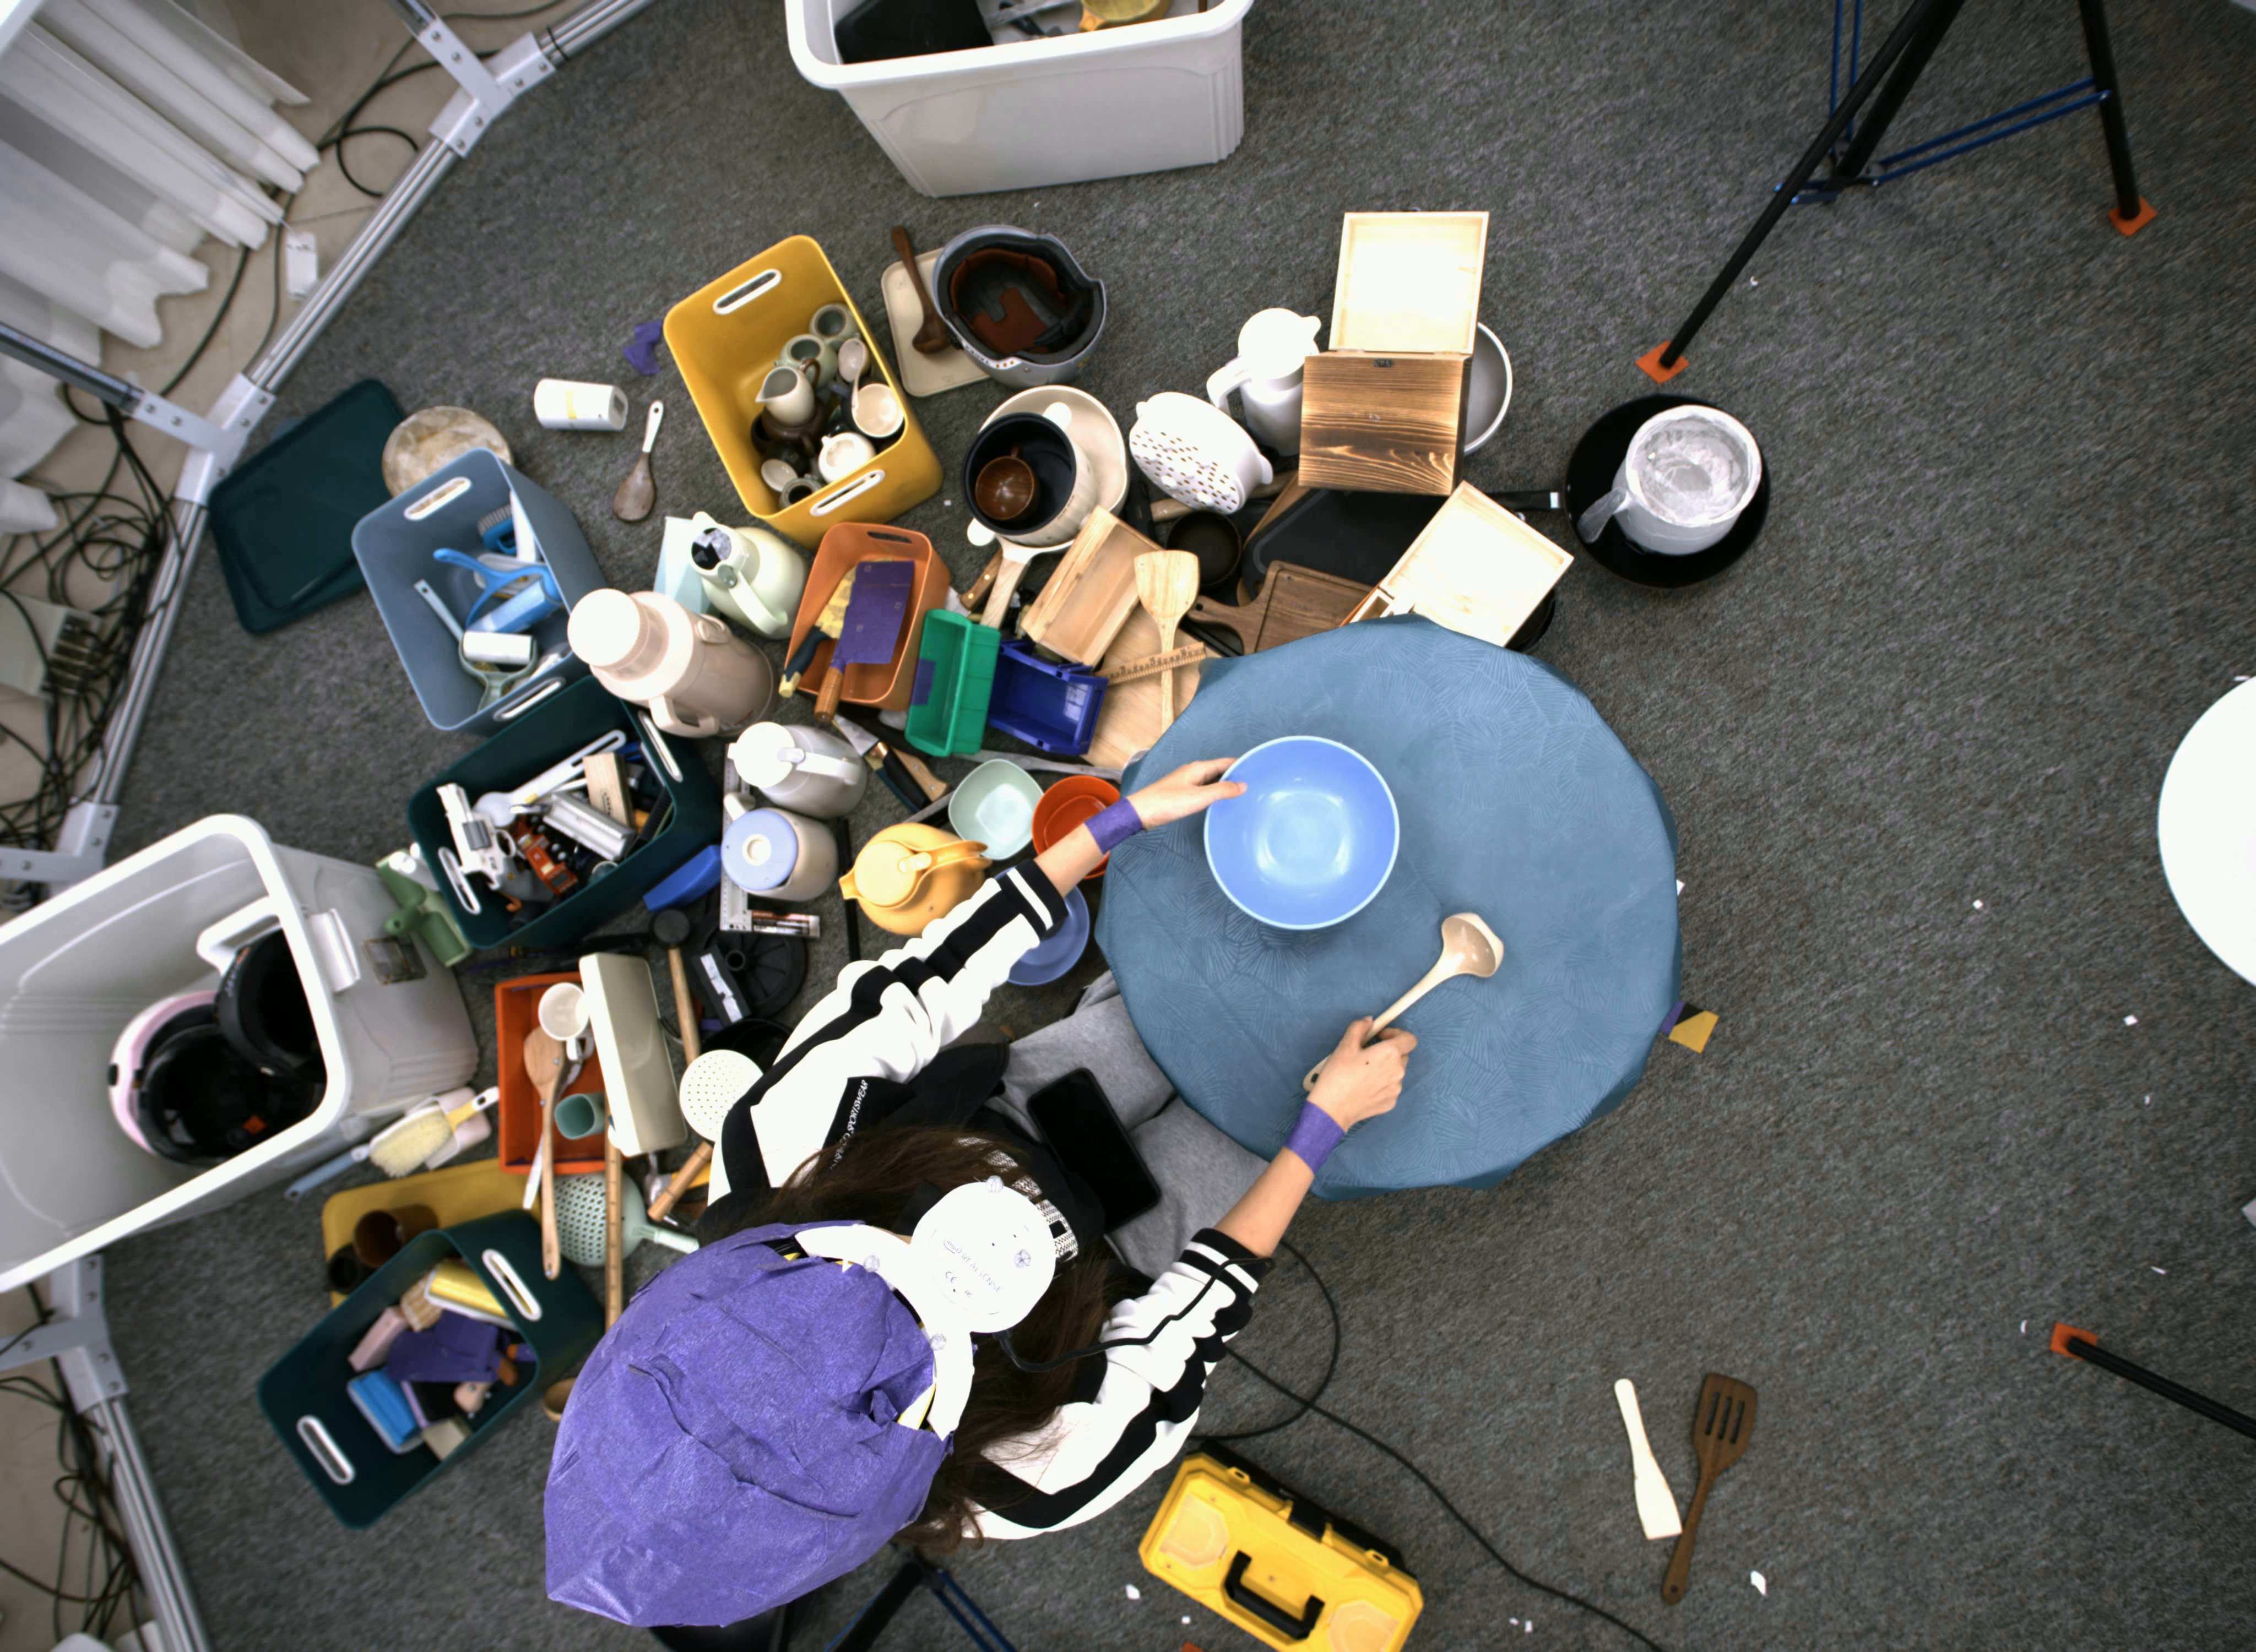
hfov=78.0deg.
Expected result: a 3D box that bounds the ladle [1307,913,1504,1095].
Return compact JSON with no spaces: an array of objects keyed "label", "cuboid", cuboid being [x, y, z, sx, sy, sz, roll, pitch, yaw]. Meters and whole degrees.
[{"label":"ladle","cuboid":[0.277,0.187,1.414,0.255,0.073,0.072,-43,78,5]}]

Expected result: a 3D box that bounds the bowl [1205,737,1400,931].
[{"label":"bowl","cuboid":[0.181,0.011,1.435,0.197,0.095,0.196,-1,87,9]}]
